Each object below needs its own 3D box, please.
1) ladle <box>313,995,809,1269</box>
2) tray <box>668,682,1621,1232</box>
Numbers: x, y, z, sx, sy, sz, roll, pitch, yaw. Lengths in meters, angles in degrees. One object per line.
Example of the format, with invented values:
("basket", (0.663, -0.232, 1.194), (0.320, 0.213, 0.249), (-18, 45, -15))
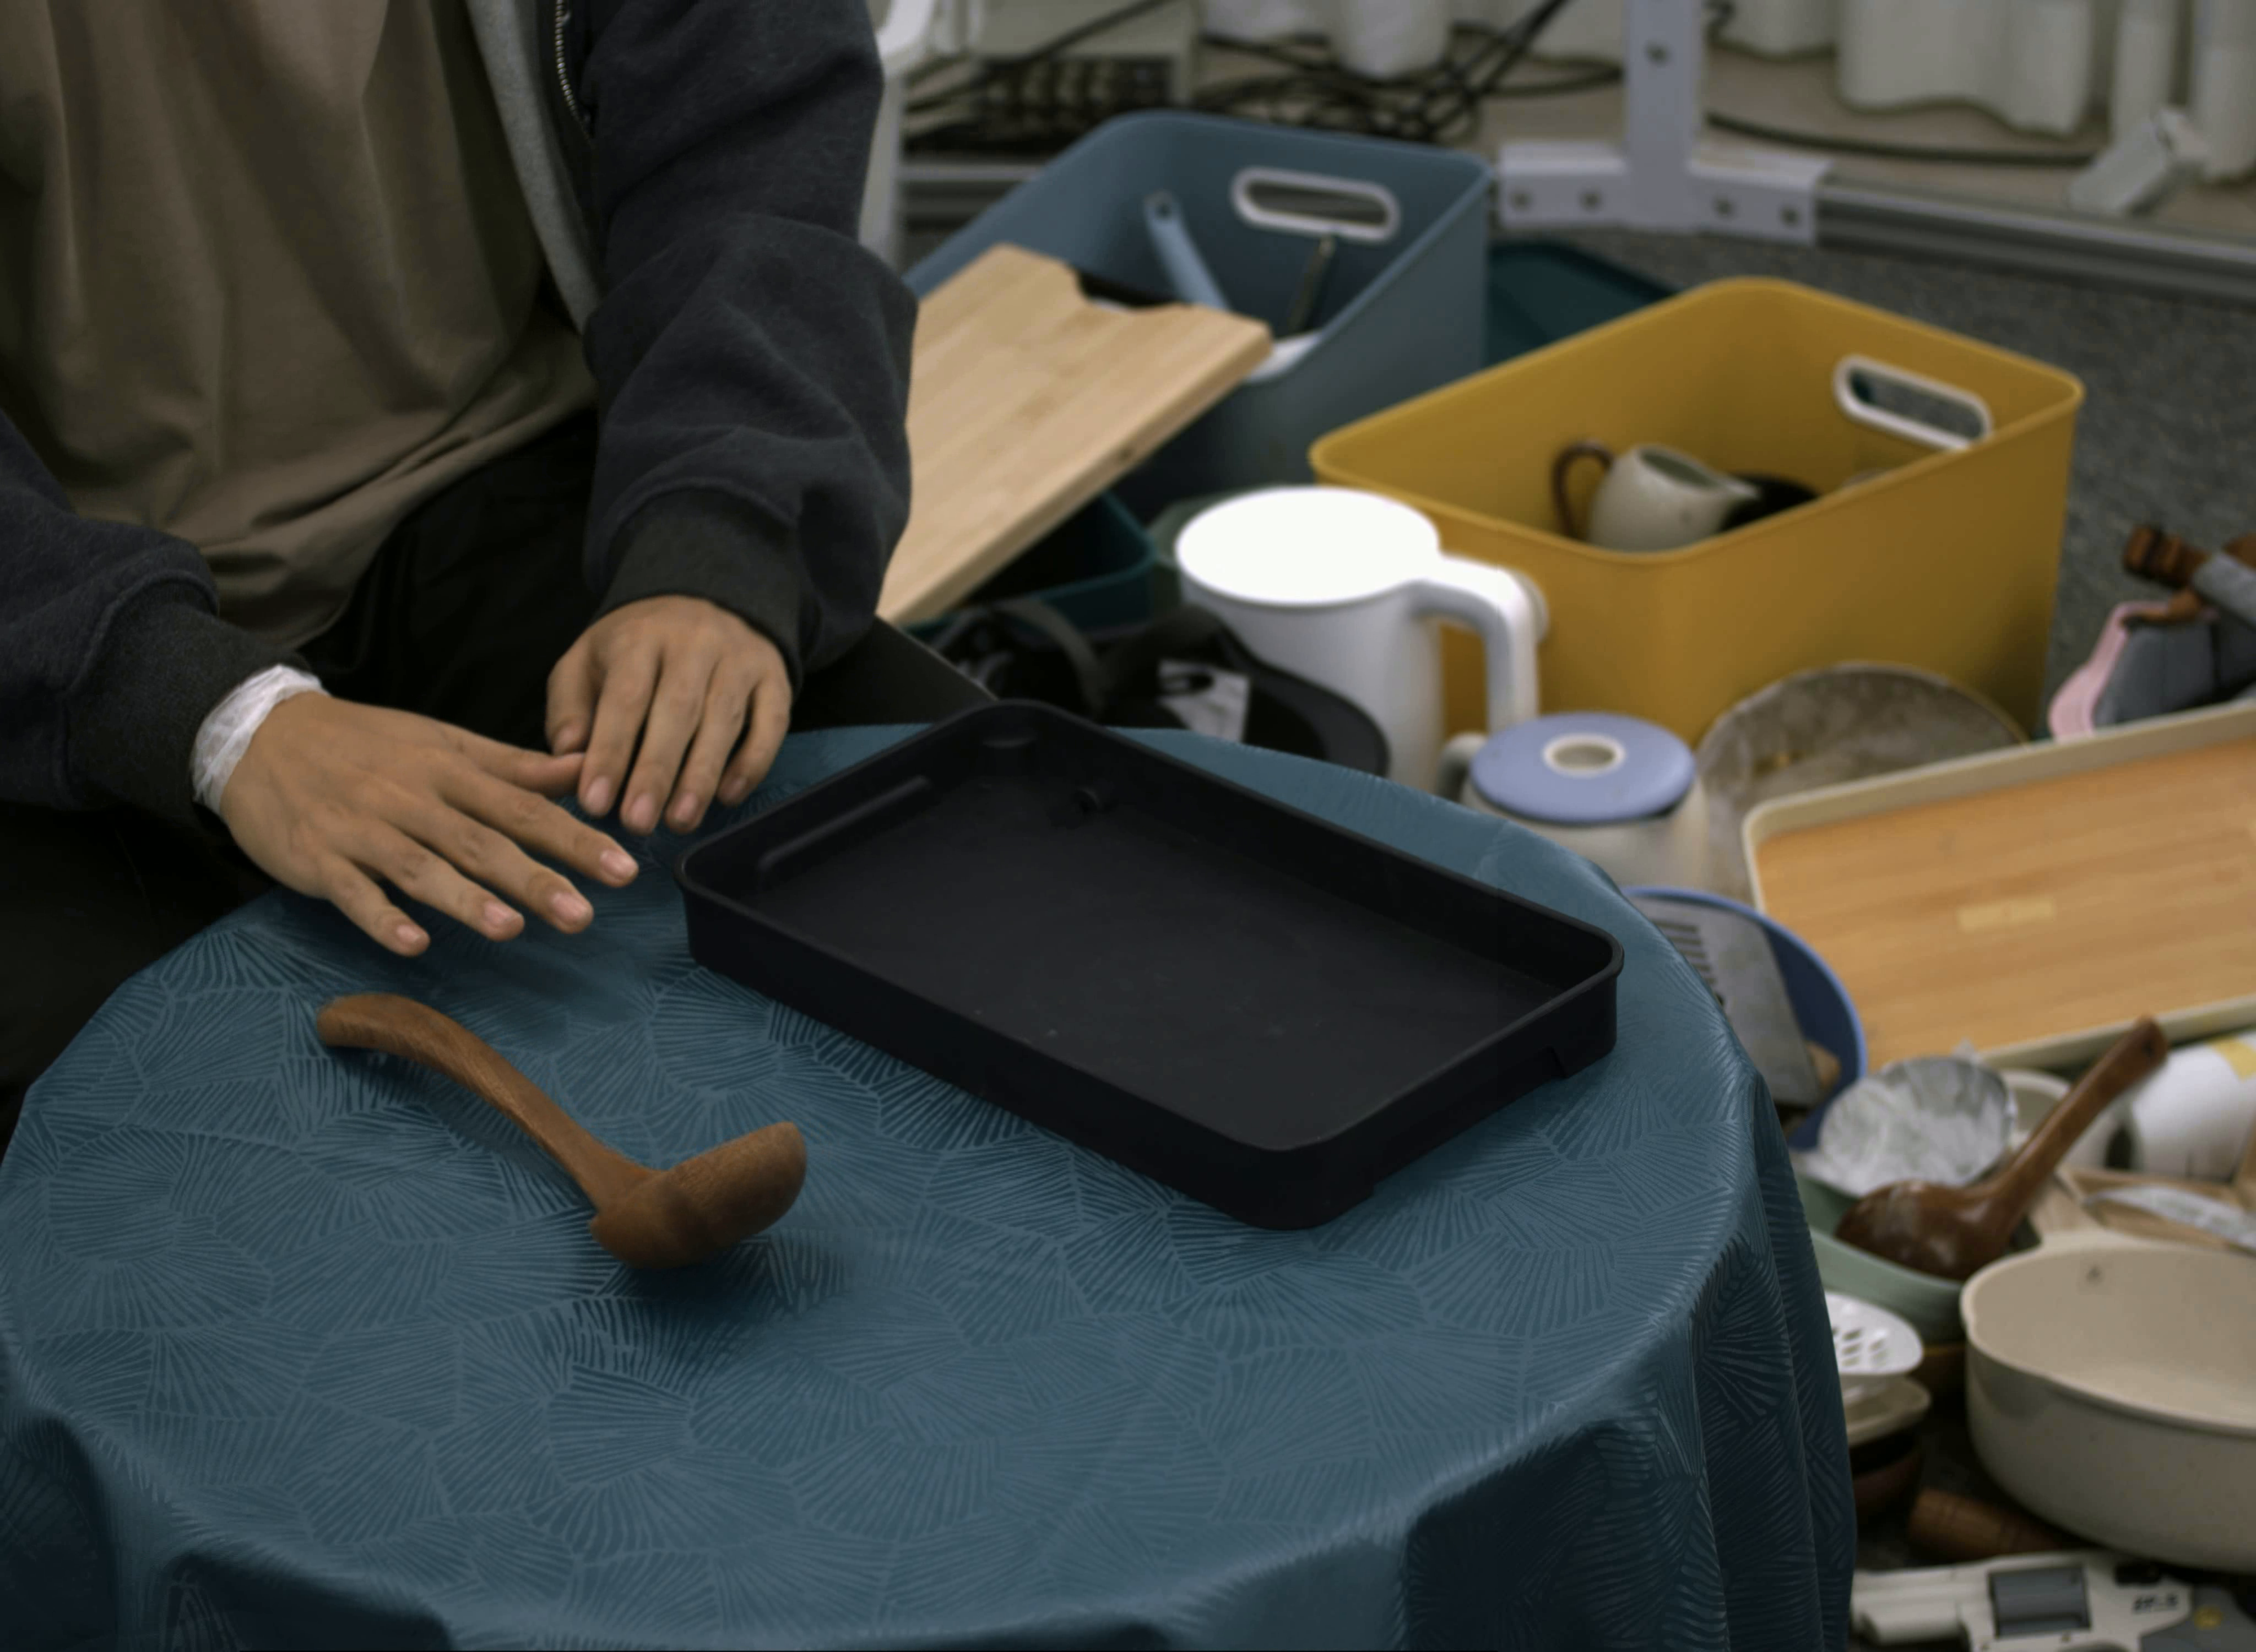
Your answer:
("ladle", (-0.199, 0.087, 1.881), (0.077, 0.064, 0.260), (-17, 30, -36))
("tray", (0.003, 0.040, 1.974), (0.317, 0.036, 0.186), (24, 38, 39))
